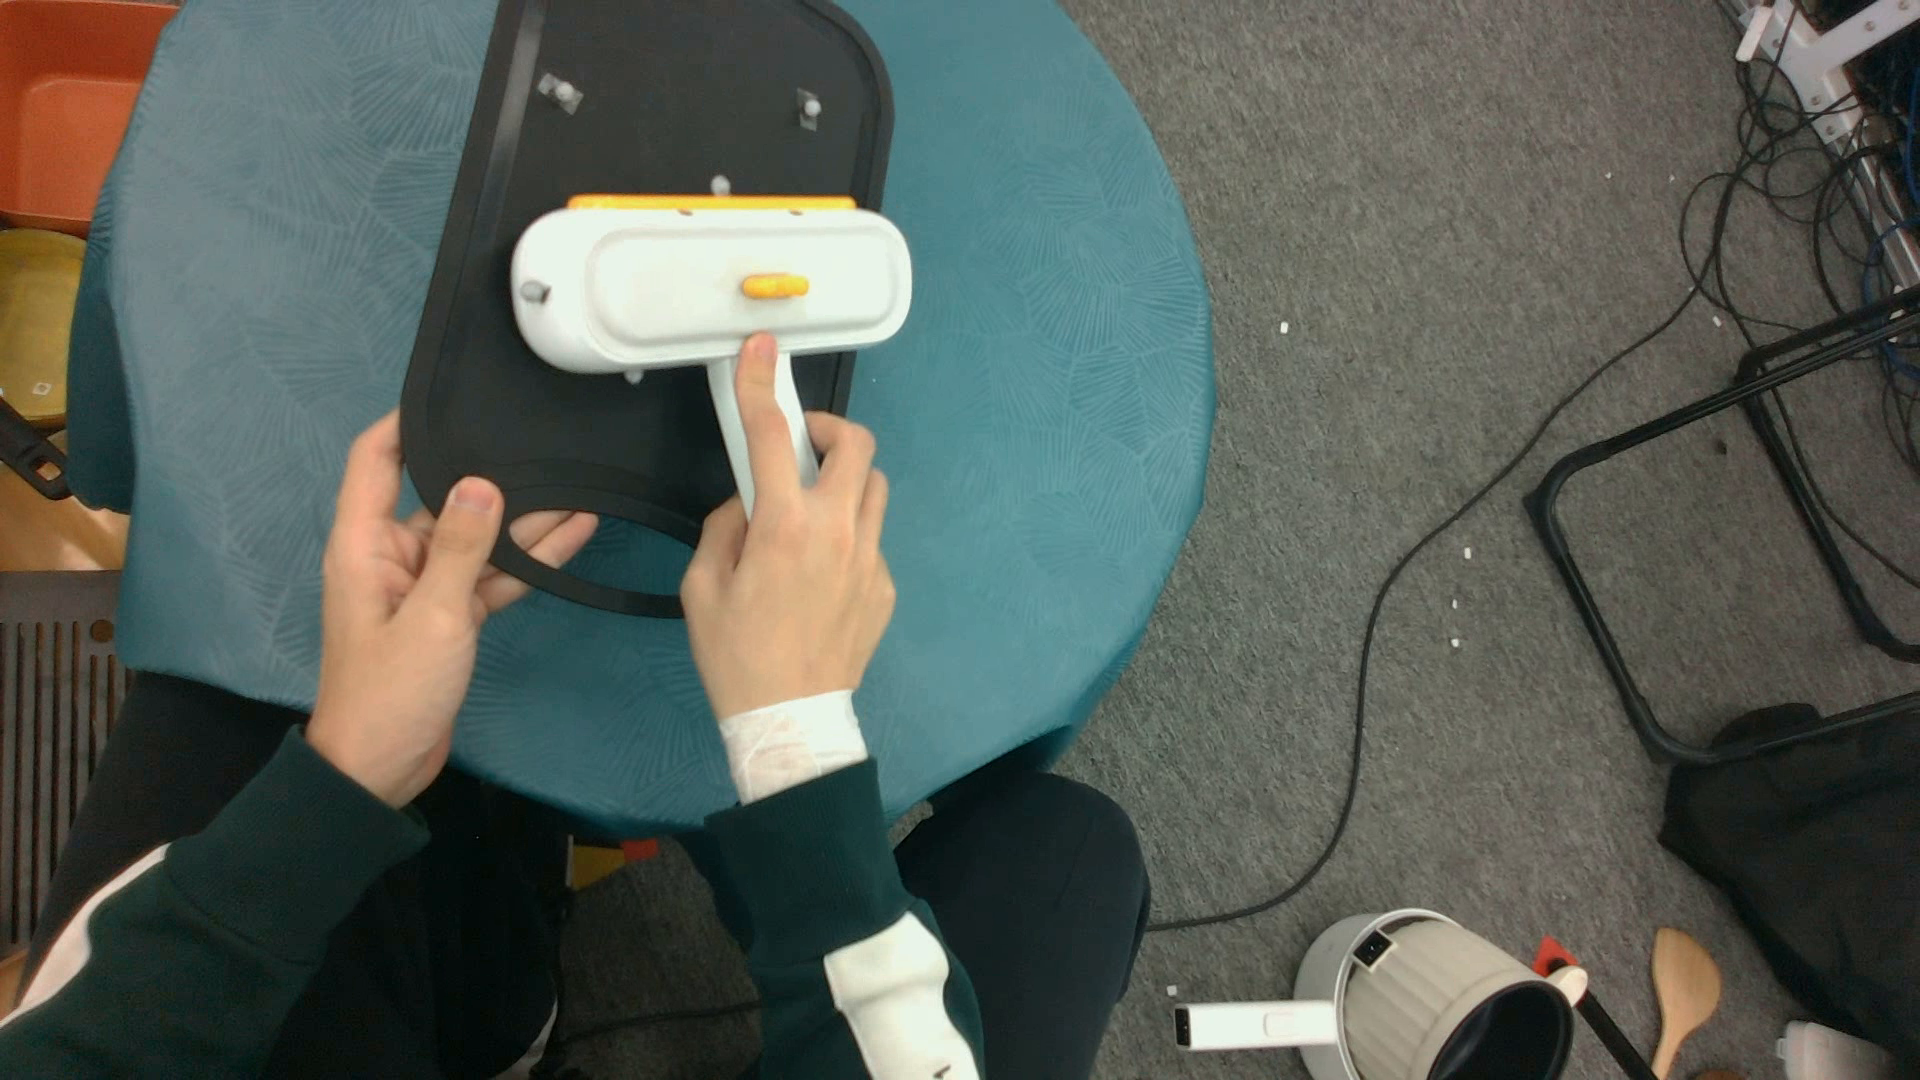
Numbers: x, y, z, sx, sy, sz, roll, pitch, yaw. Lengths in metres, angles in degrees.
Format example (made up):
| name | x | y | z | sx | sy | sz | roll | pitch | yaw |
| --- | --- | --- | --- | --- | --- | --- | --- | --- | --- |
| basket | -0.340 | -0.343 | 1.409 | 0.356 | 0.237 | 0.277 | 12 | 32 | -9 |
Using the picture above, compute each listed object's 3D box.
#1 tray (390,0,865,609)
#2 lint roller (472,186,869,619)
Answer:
| name | x | y | z | sx | sy | sz | roll | pitch | yaw |
| --- | --- | --- | --- | --- | --- | --- | --- | --- | --- |
| tray | -0.136 | -0.131 | 0.628 | 0.211 | 0.010 | 0.326 | 19 | 72 | -42 |
| lint roller | -0.103 | -0.057 | 0.613 | 0.193 | 0.074 | 0.192 | -22 | 104 | -48 |
